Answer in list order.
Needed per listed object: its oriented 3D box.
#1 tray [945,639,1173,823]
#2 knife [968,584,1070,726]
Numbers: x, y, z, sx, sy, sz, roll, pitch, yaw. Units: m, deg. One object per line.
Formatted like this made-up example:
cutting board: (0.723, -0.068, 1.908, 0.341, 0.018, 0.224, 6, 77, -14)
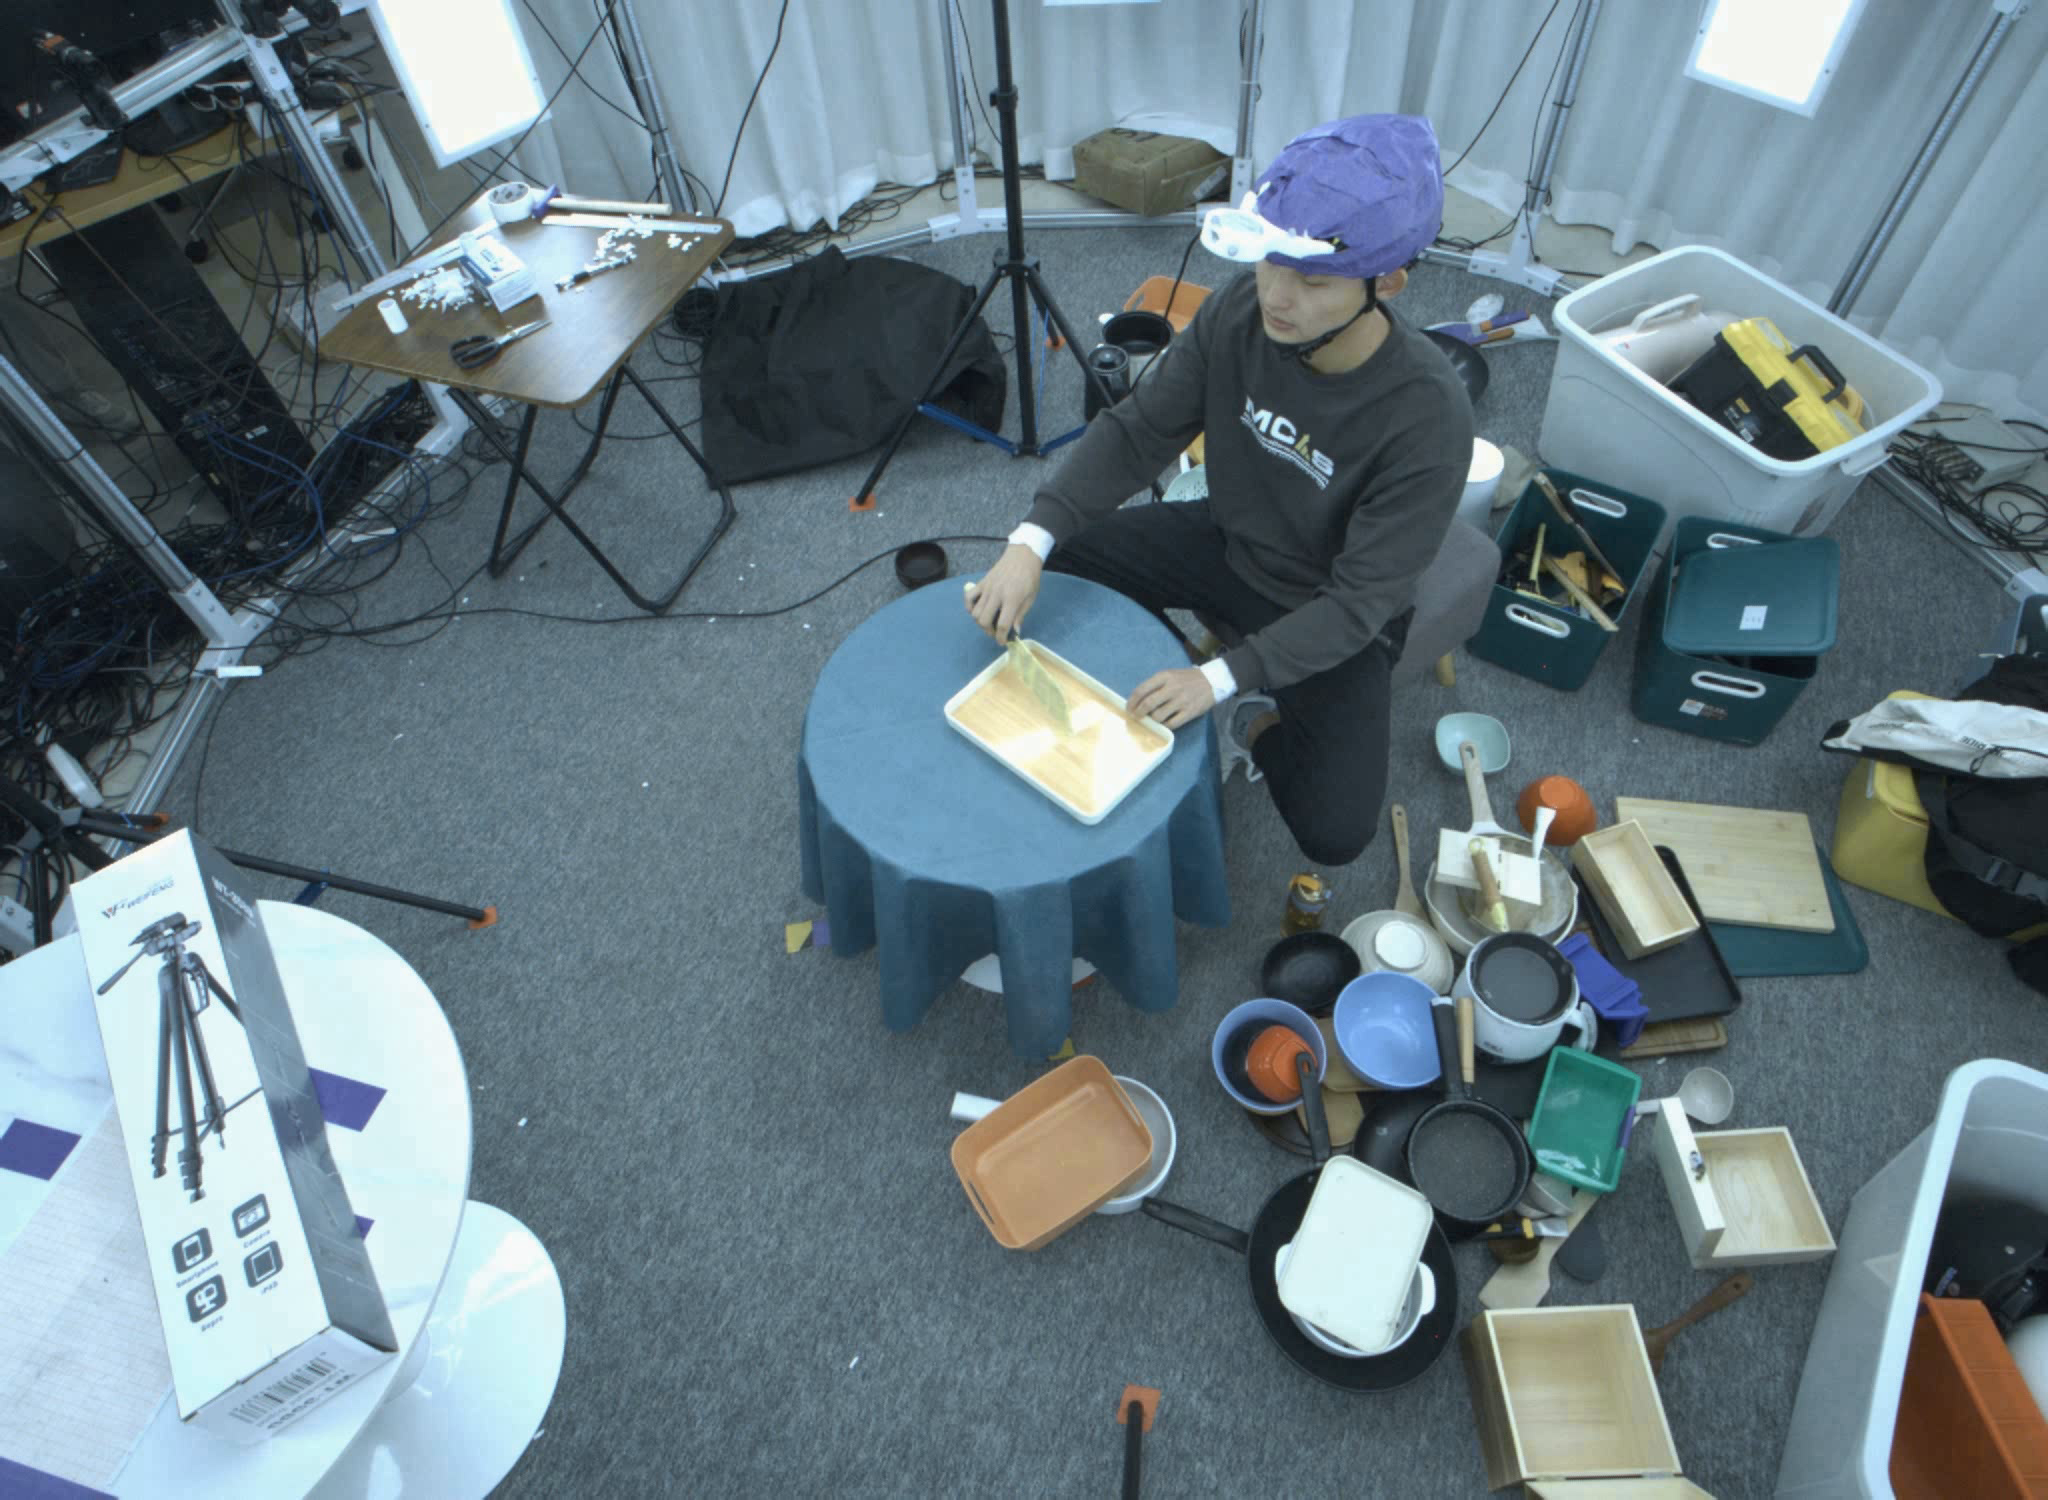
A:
tray: (0.049, -0.034, 1.800, 0.295, 0.028, 0.193, 36, 63, 24)
knife: (-0.008, -0.142, 1.835, 0.027, 0.081, 0.285, -23, 62, -23)
